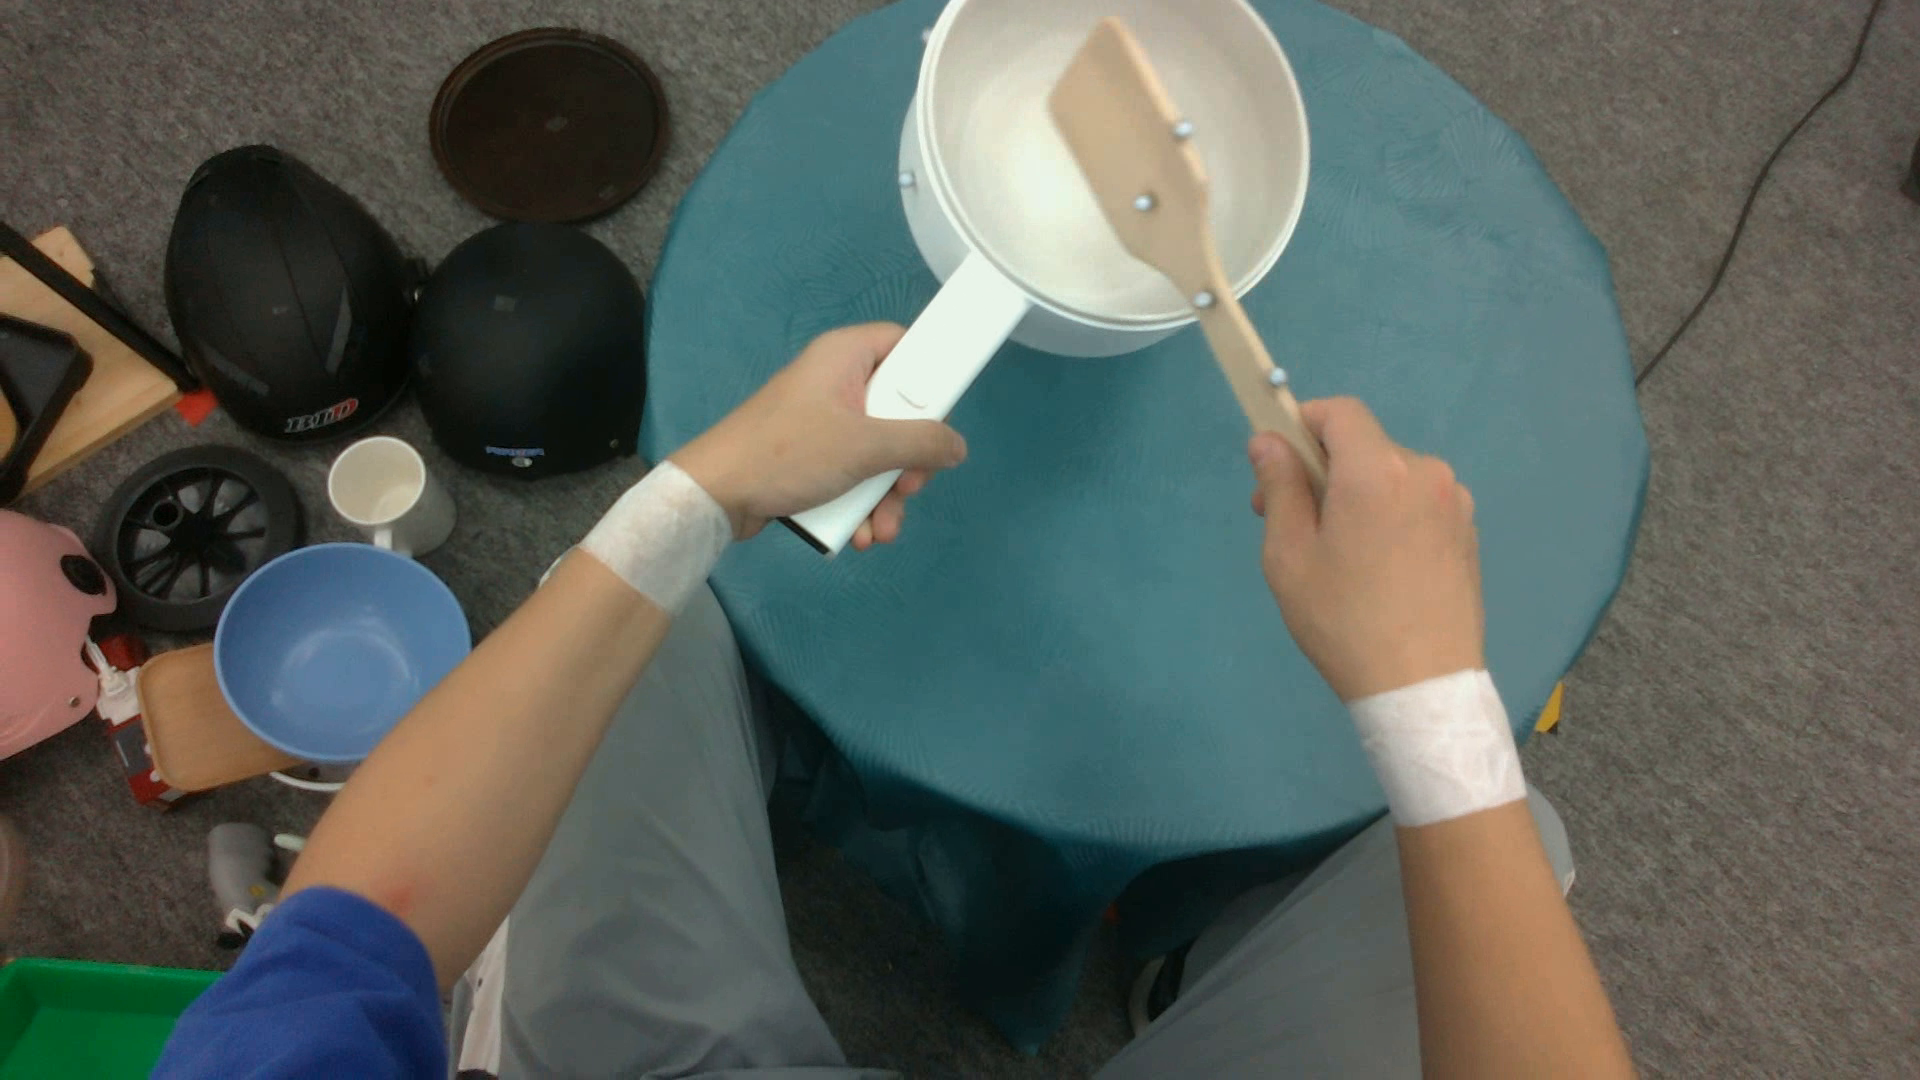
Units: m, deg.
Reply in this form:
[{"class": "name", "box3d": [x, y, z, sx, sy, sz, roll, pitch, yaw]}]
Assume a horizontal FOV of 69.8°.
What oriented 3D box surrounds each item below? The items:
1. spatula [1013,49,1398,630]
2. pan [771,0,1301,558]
[{"class": "spatula", "box3d": [0.111, -0.087, 0.617, 0.011, 0.072, 0.293, -27, 80, -25]}, {"class": "pan", "box3d": [0.023, -0.139, 0.705, 0.201, 0.102, 0.355, 38, 77, -11]}]
